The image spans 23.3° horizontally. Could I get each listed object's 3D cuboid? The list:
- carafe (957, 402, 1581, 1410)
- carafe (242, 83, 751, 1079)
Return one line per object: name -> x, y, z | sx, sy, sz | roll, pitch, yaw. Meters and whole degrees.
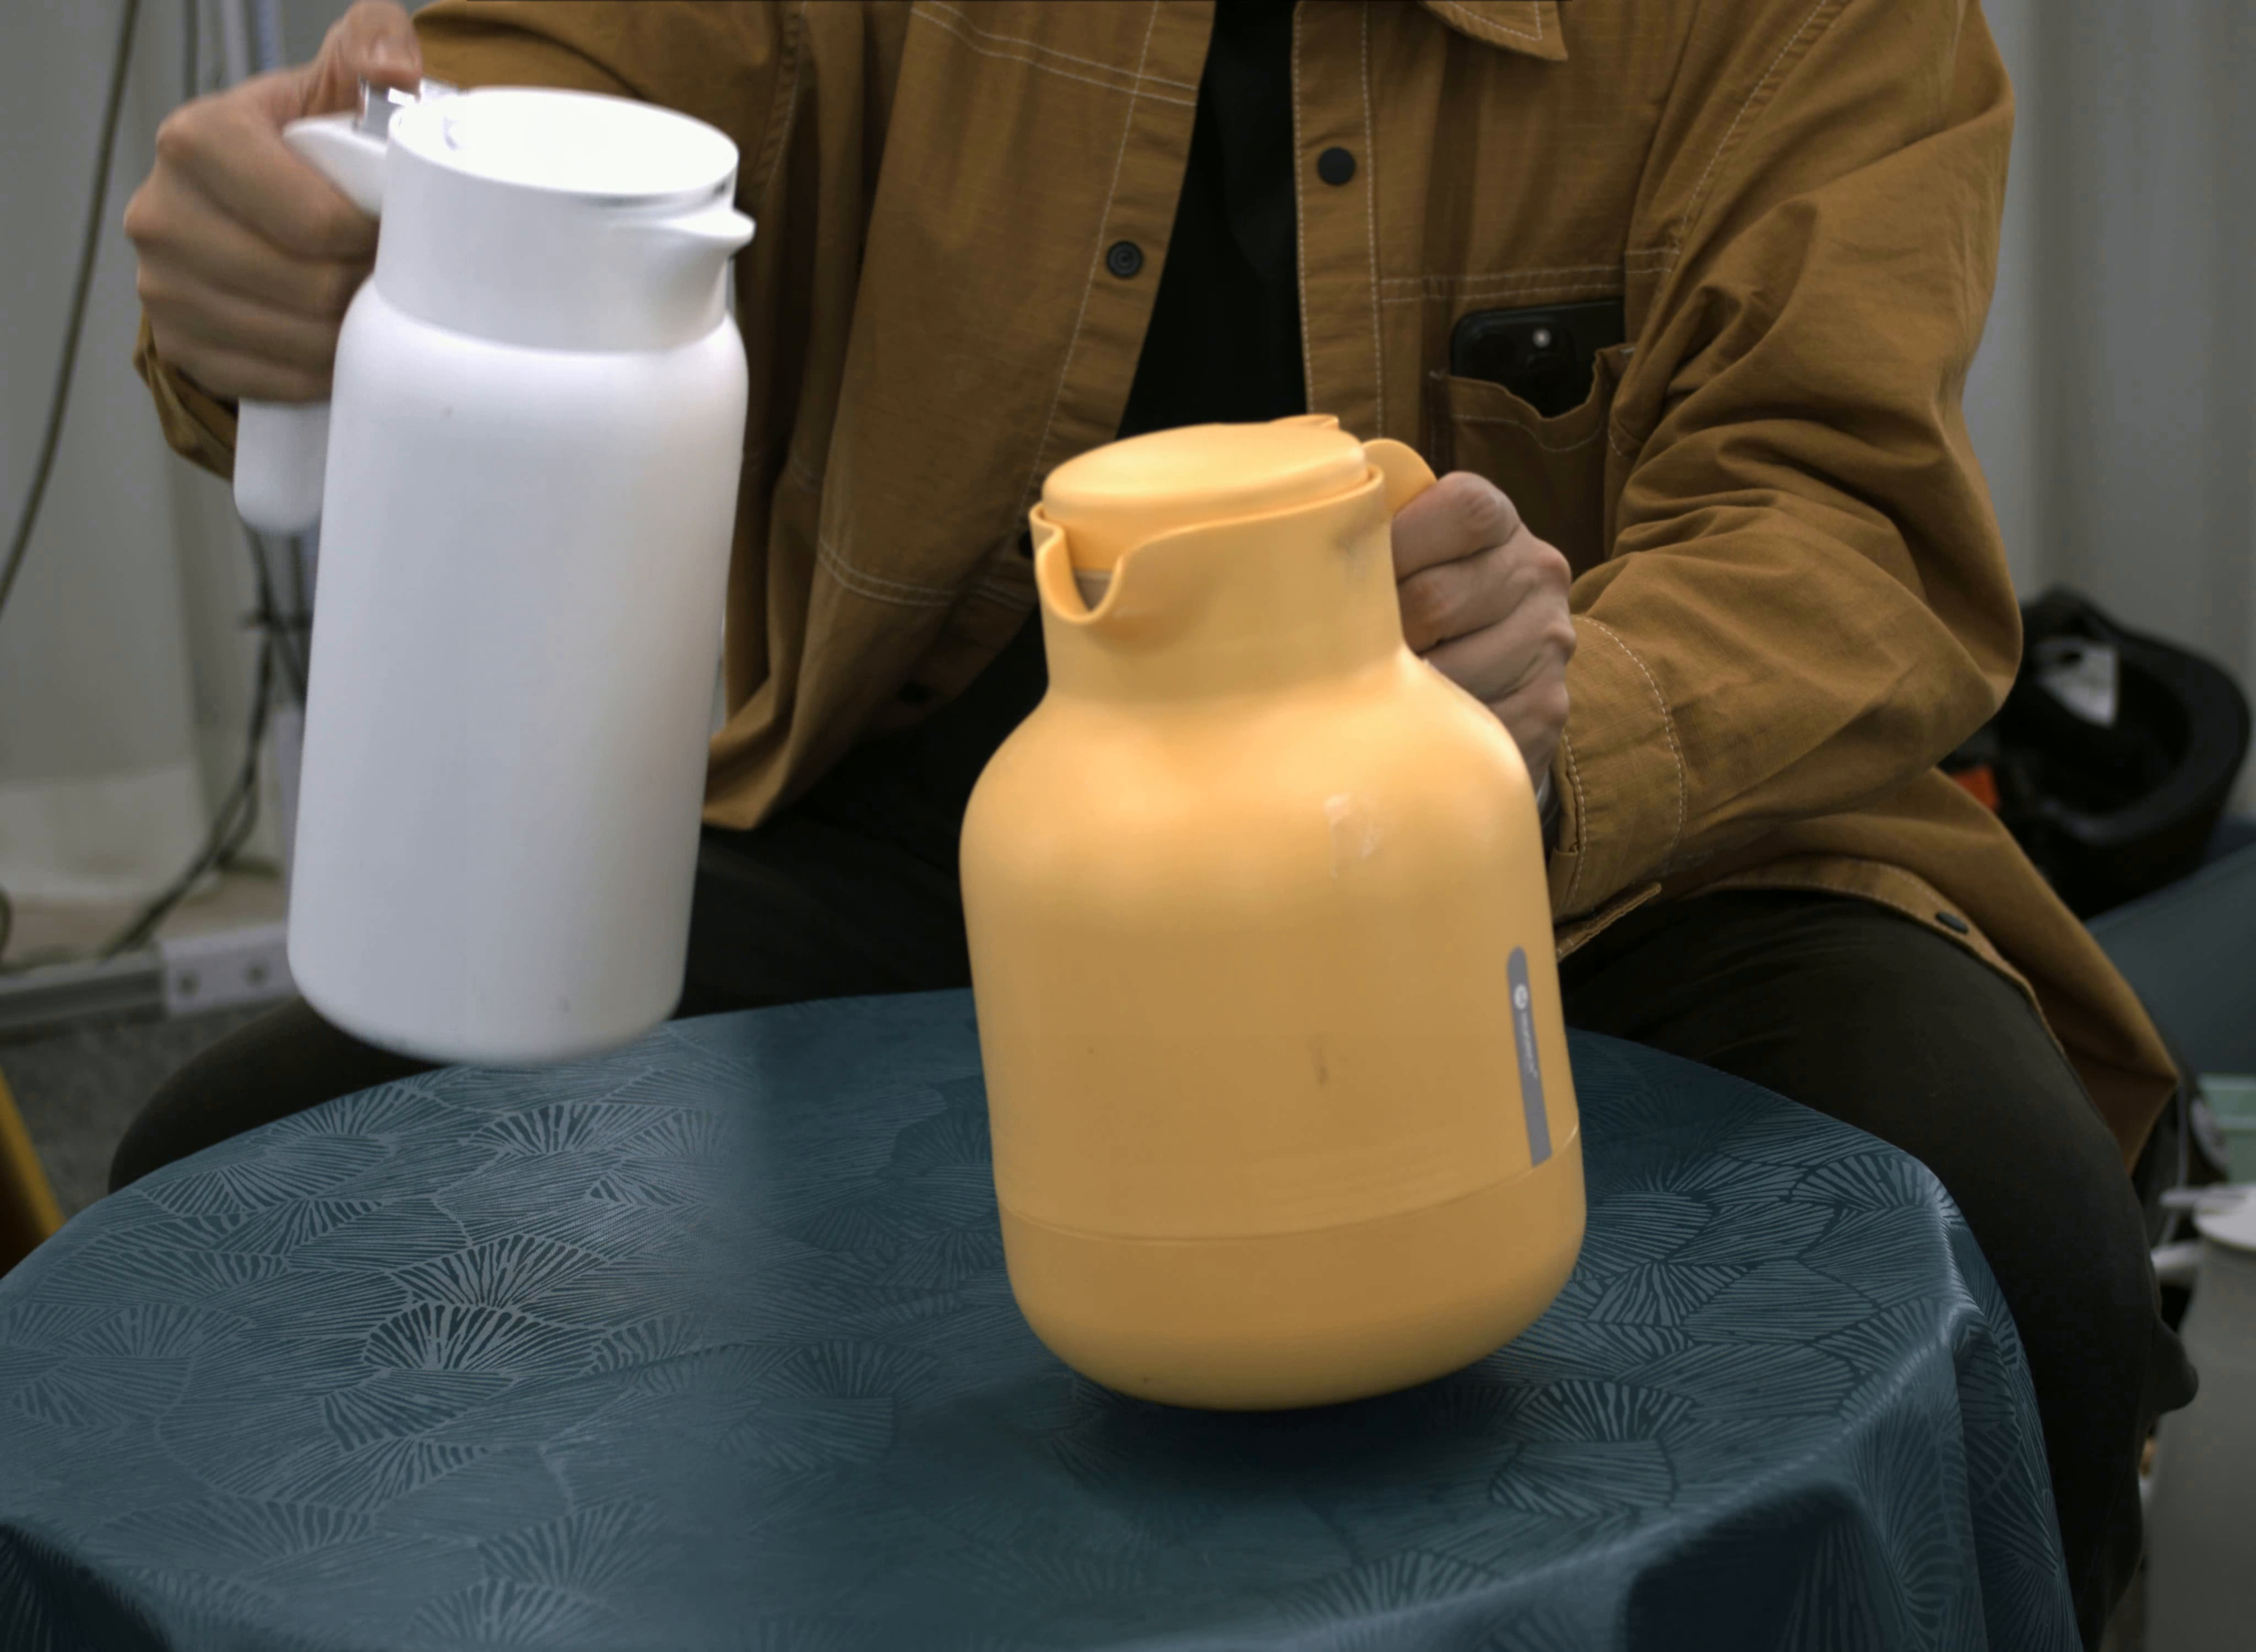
carafe -> 0.046, 0.014, 1.515 | 0.164, 0.259, 0.202 | 4, 18, 33
carafe -> -0.187, -0.074, 1.583 | 0.174, 0.267, 0.124 | 21, 26, 32
